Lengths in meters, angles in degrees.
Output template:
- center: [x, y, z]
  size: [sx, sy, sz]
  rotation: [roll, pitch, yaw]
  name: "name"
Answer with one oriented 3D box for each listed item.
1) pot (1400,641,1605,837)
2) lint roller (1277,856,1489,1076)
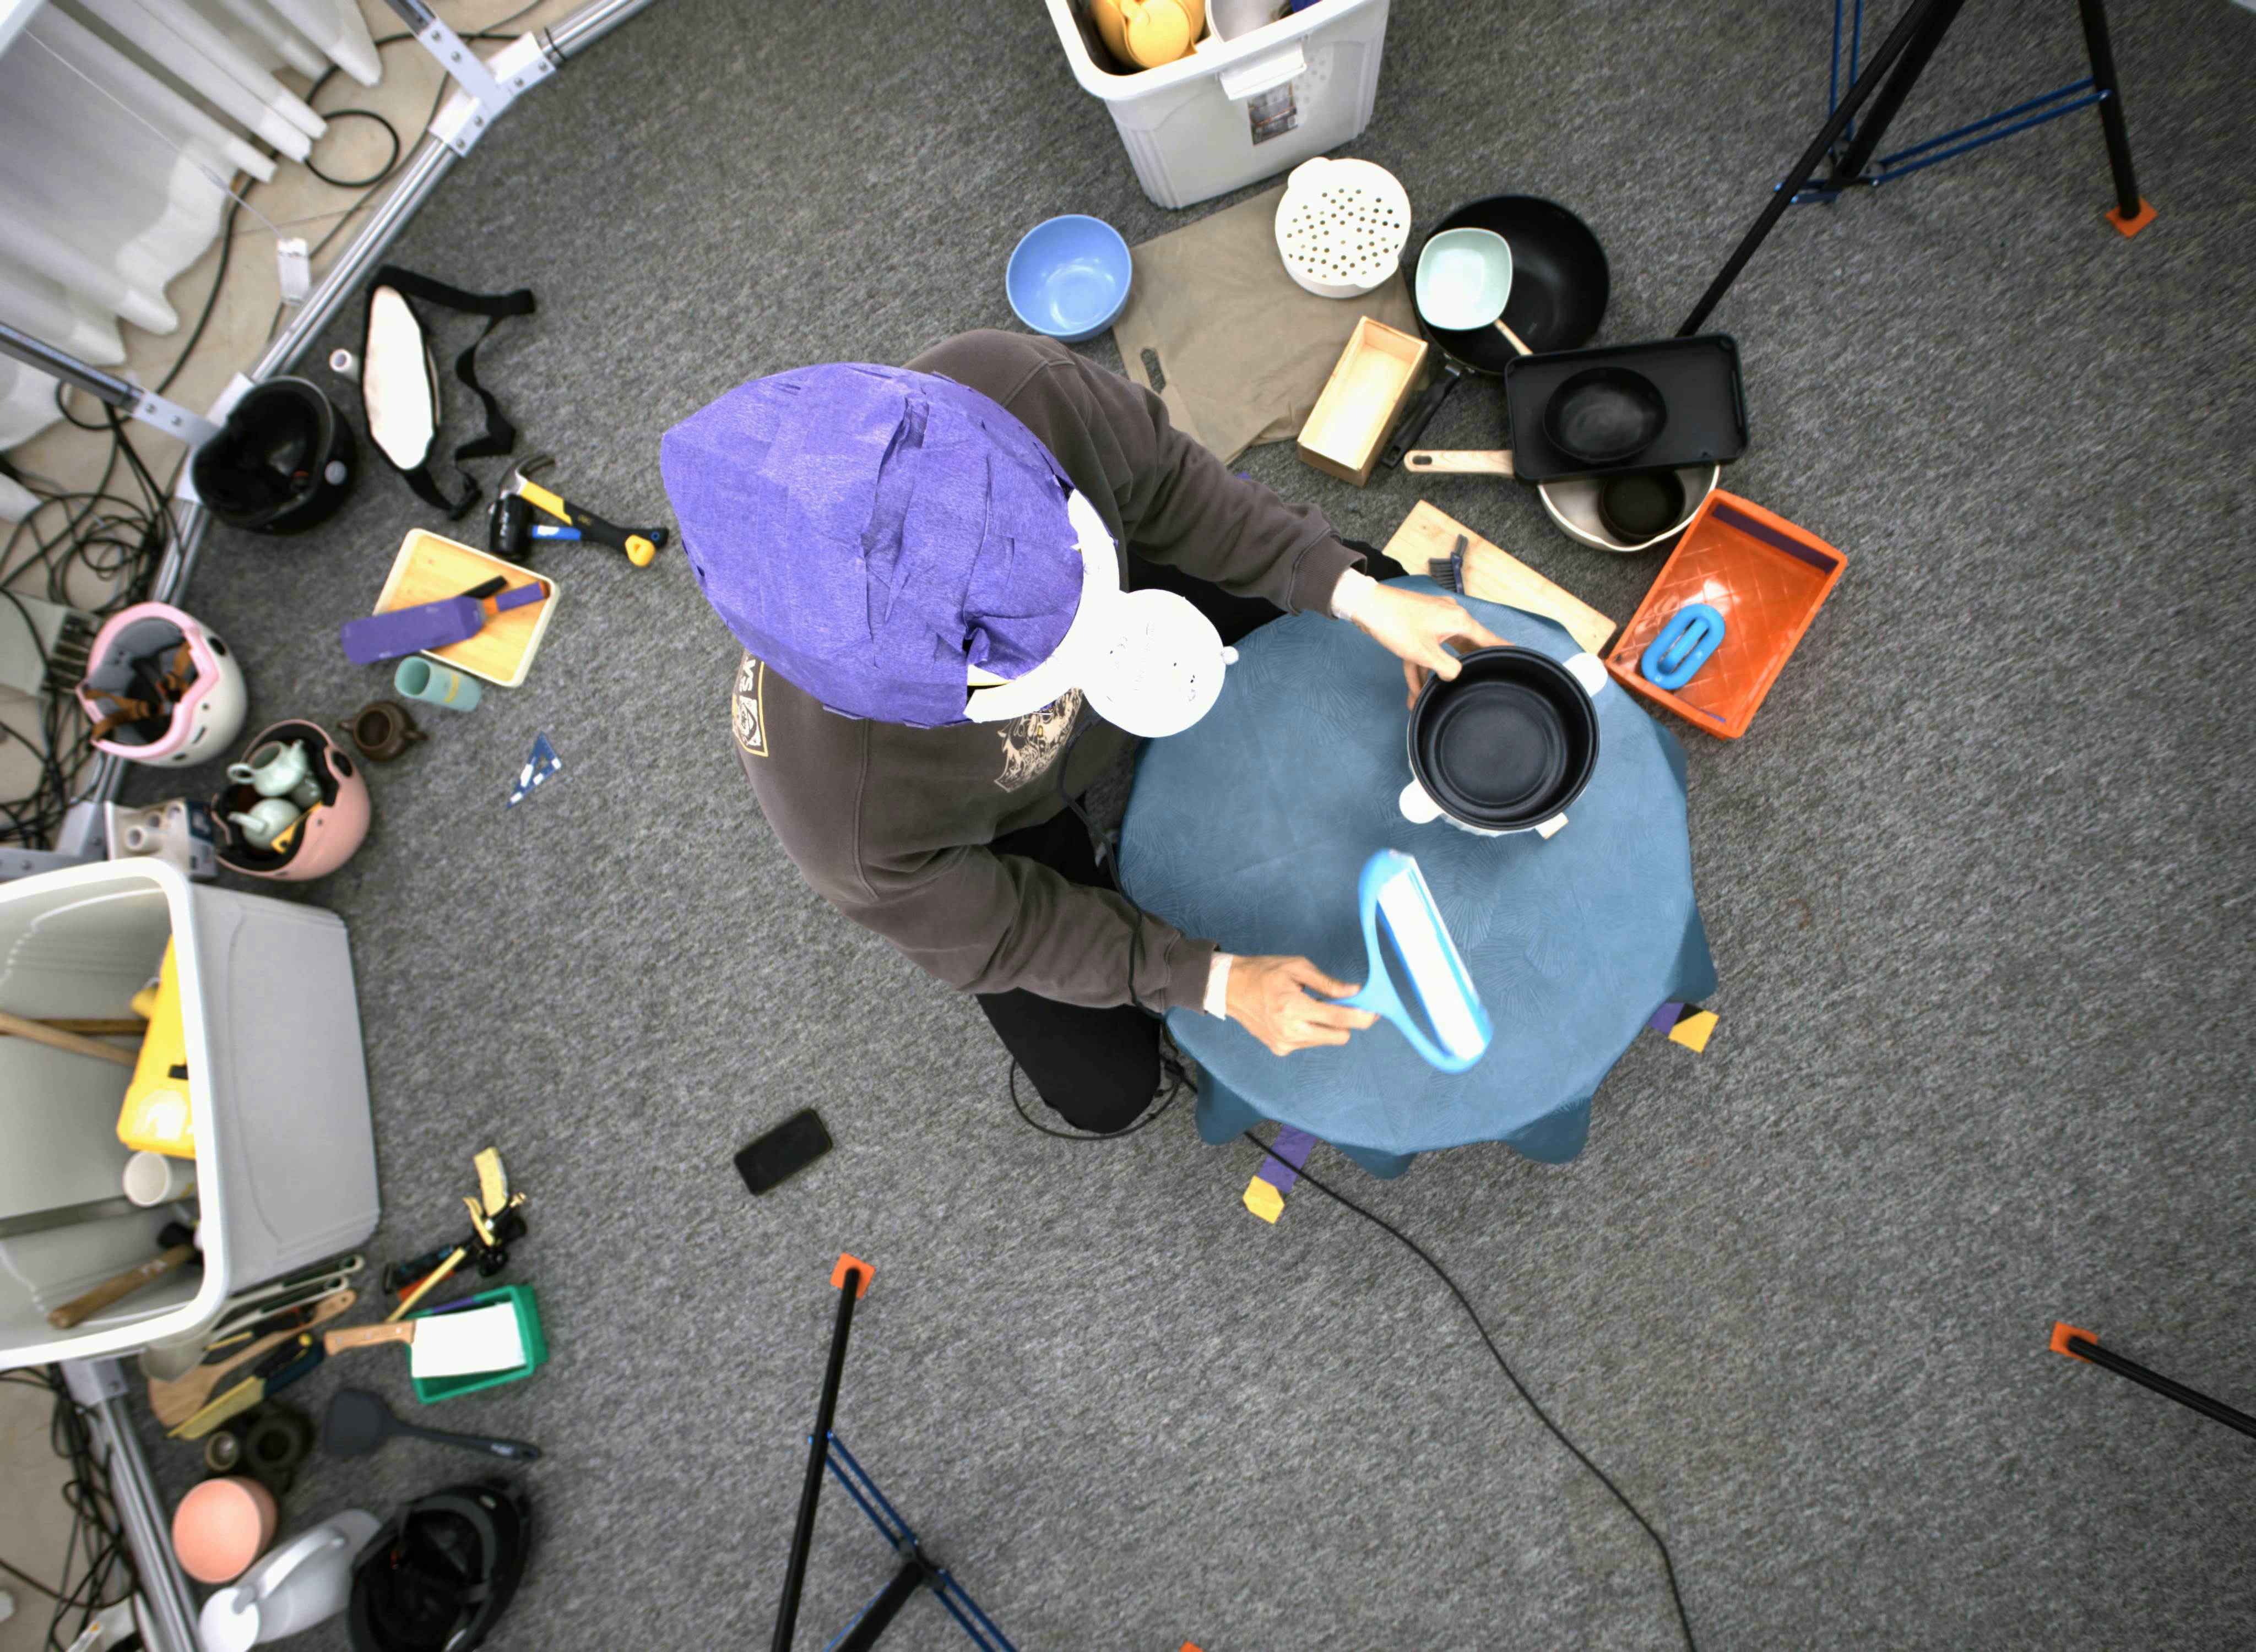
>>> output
- center: [0.374, -0.079, 1.375]
  size: [0.242, 0.143, 0.189]
  rotation: [-40, 78, 7]
  name: "pot"
- center: [0.231, 0.158, 1.315]
  size: [0.180, 0.067, 0.231]
  rotation: [-27, 106, 2]
  name: "lint roller"
